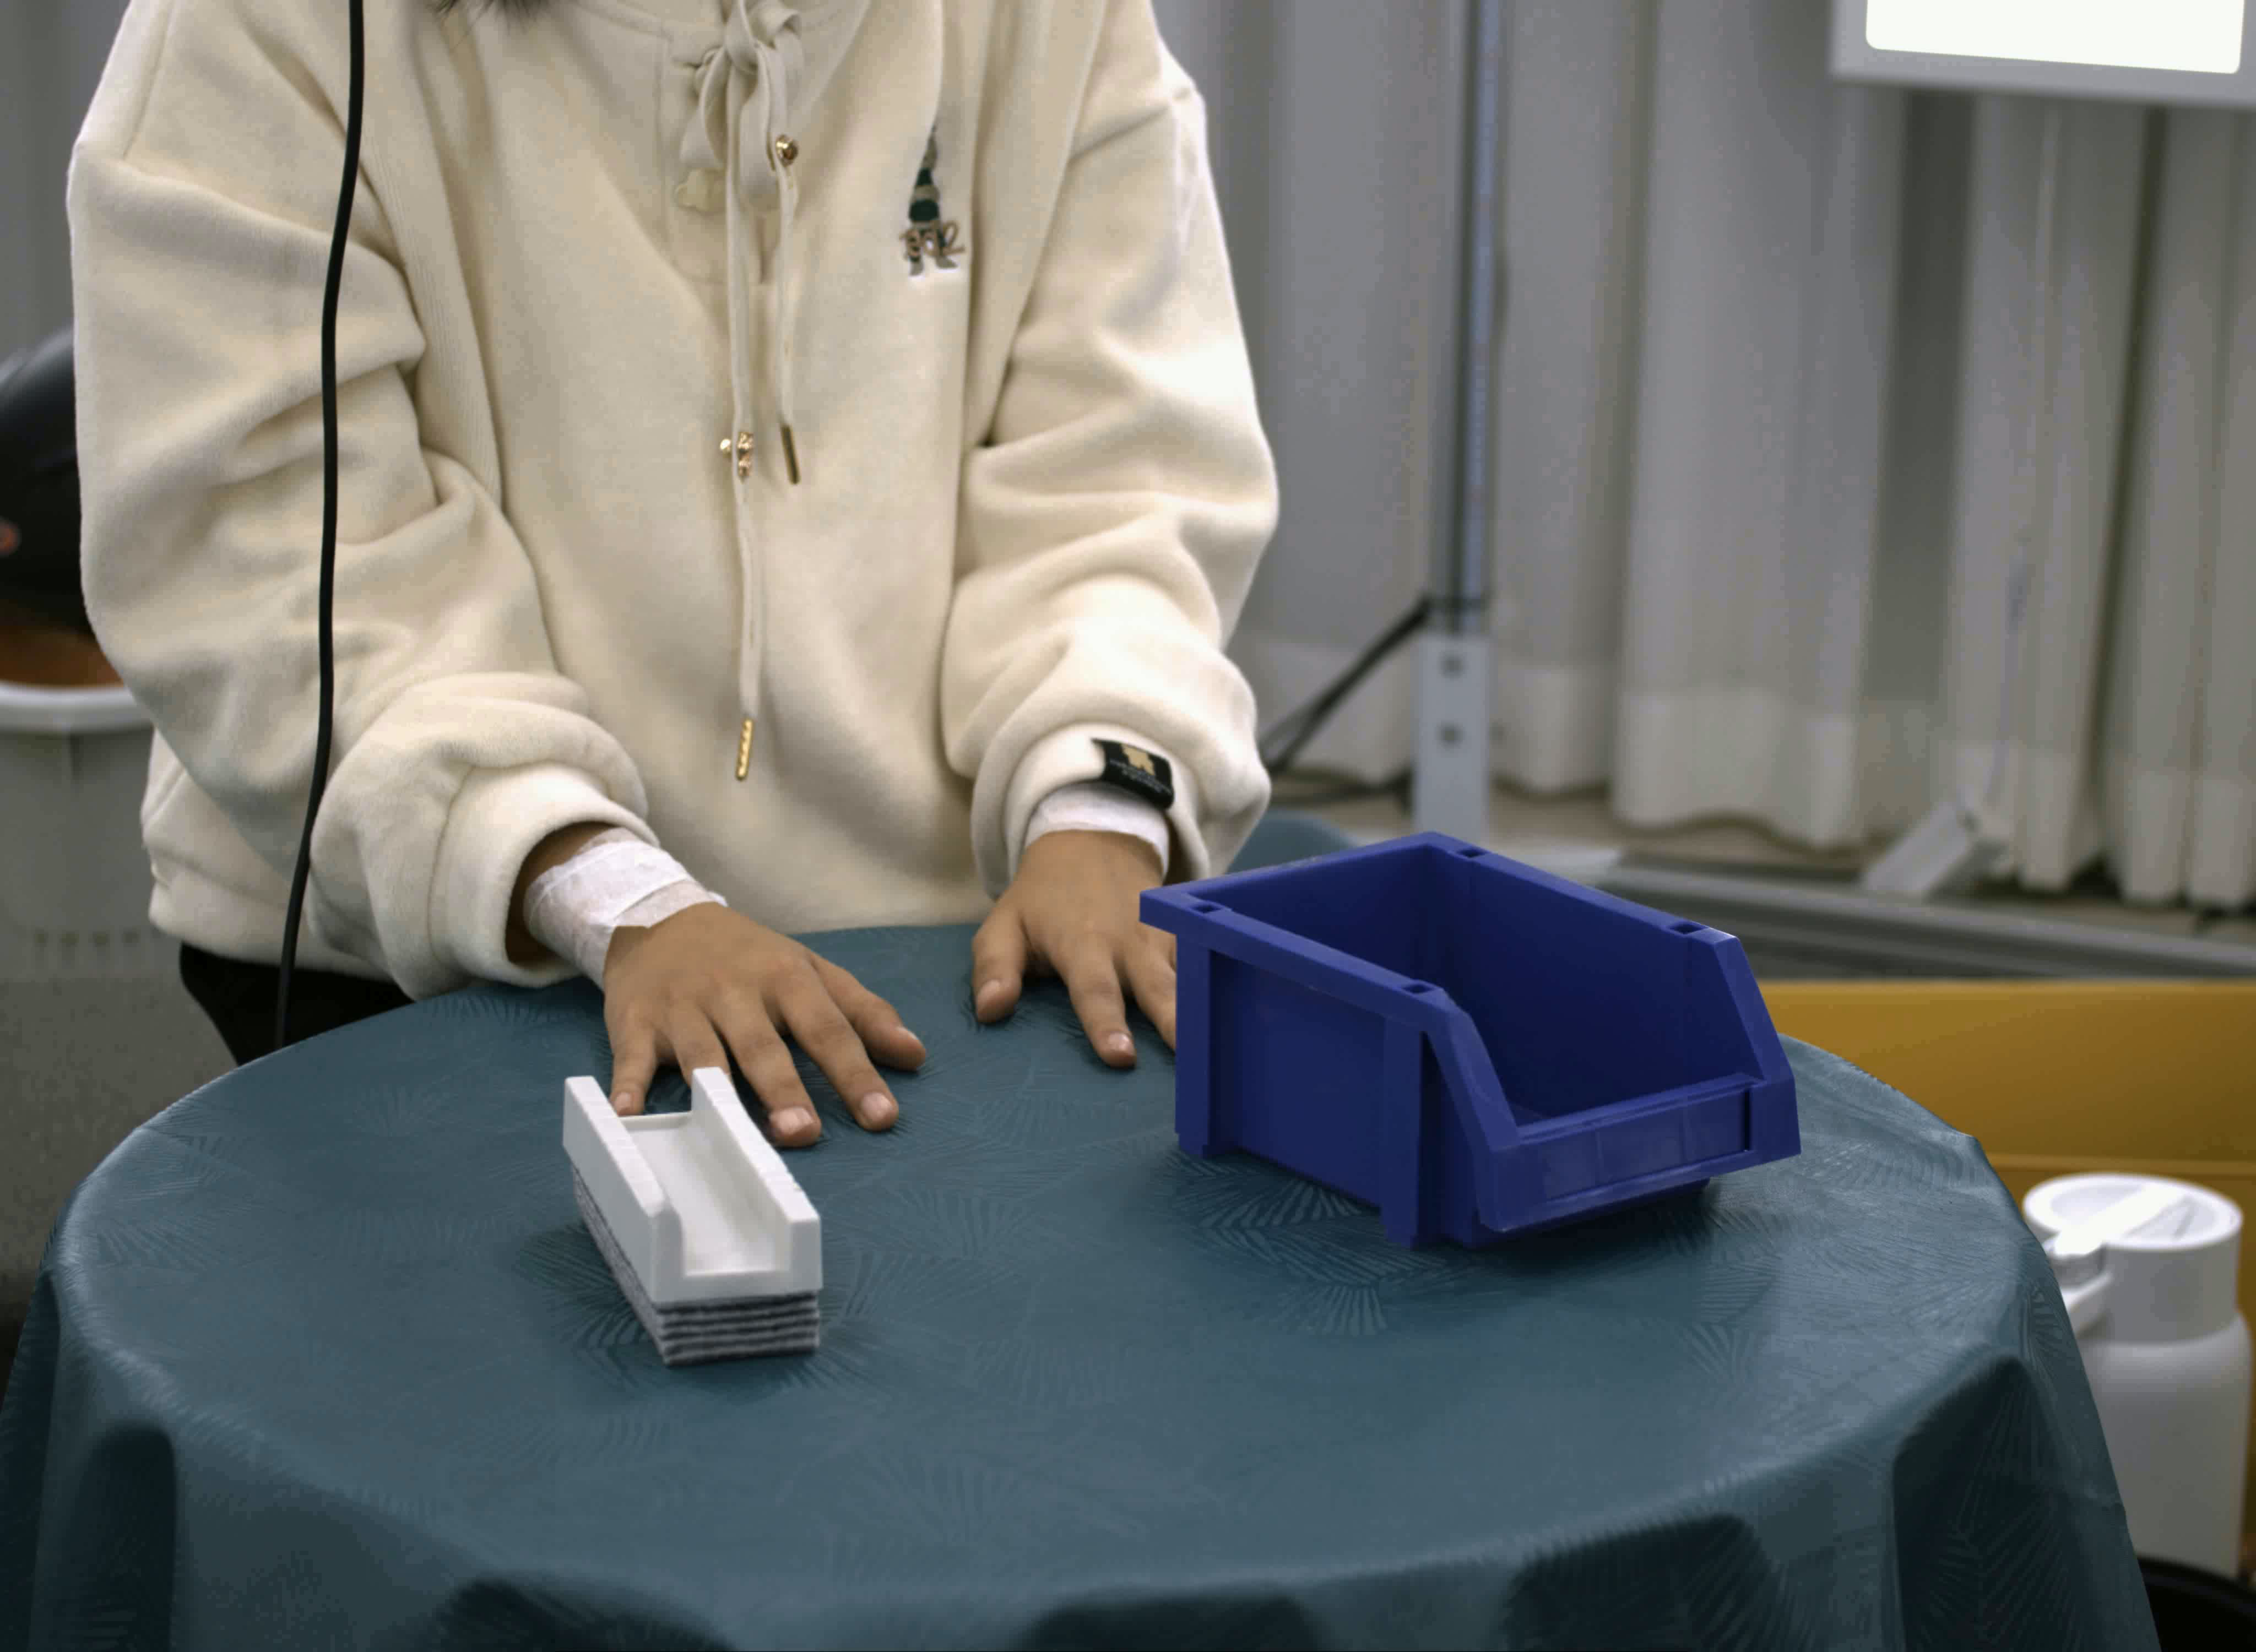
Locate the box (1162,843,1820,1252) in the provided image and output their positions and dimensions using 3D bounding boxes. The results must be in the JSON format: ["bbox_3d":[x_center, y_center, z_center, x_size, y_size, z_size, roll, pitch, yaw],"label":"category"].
[{"bbox_3d":[0.112,0.070,1.624,0.125,0.082,0.177,-10,17,-33],"label":"box"}]

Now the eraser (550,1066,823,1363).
[{"bbox_3d":[-0.130,0.111,1.530,0.050,0.047,0.133,-6,19,-18],"label":"eraser"}]
